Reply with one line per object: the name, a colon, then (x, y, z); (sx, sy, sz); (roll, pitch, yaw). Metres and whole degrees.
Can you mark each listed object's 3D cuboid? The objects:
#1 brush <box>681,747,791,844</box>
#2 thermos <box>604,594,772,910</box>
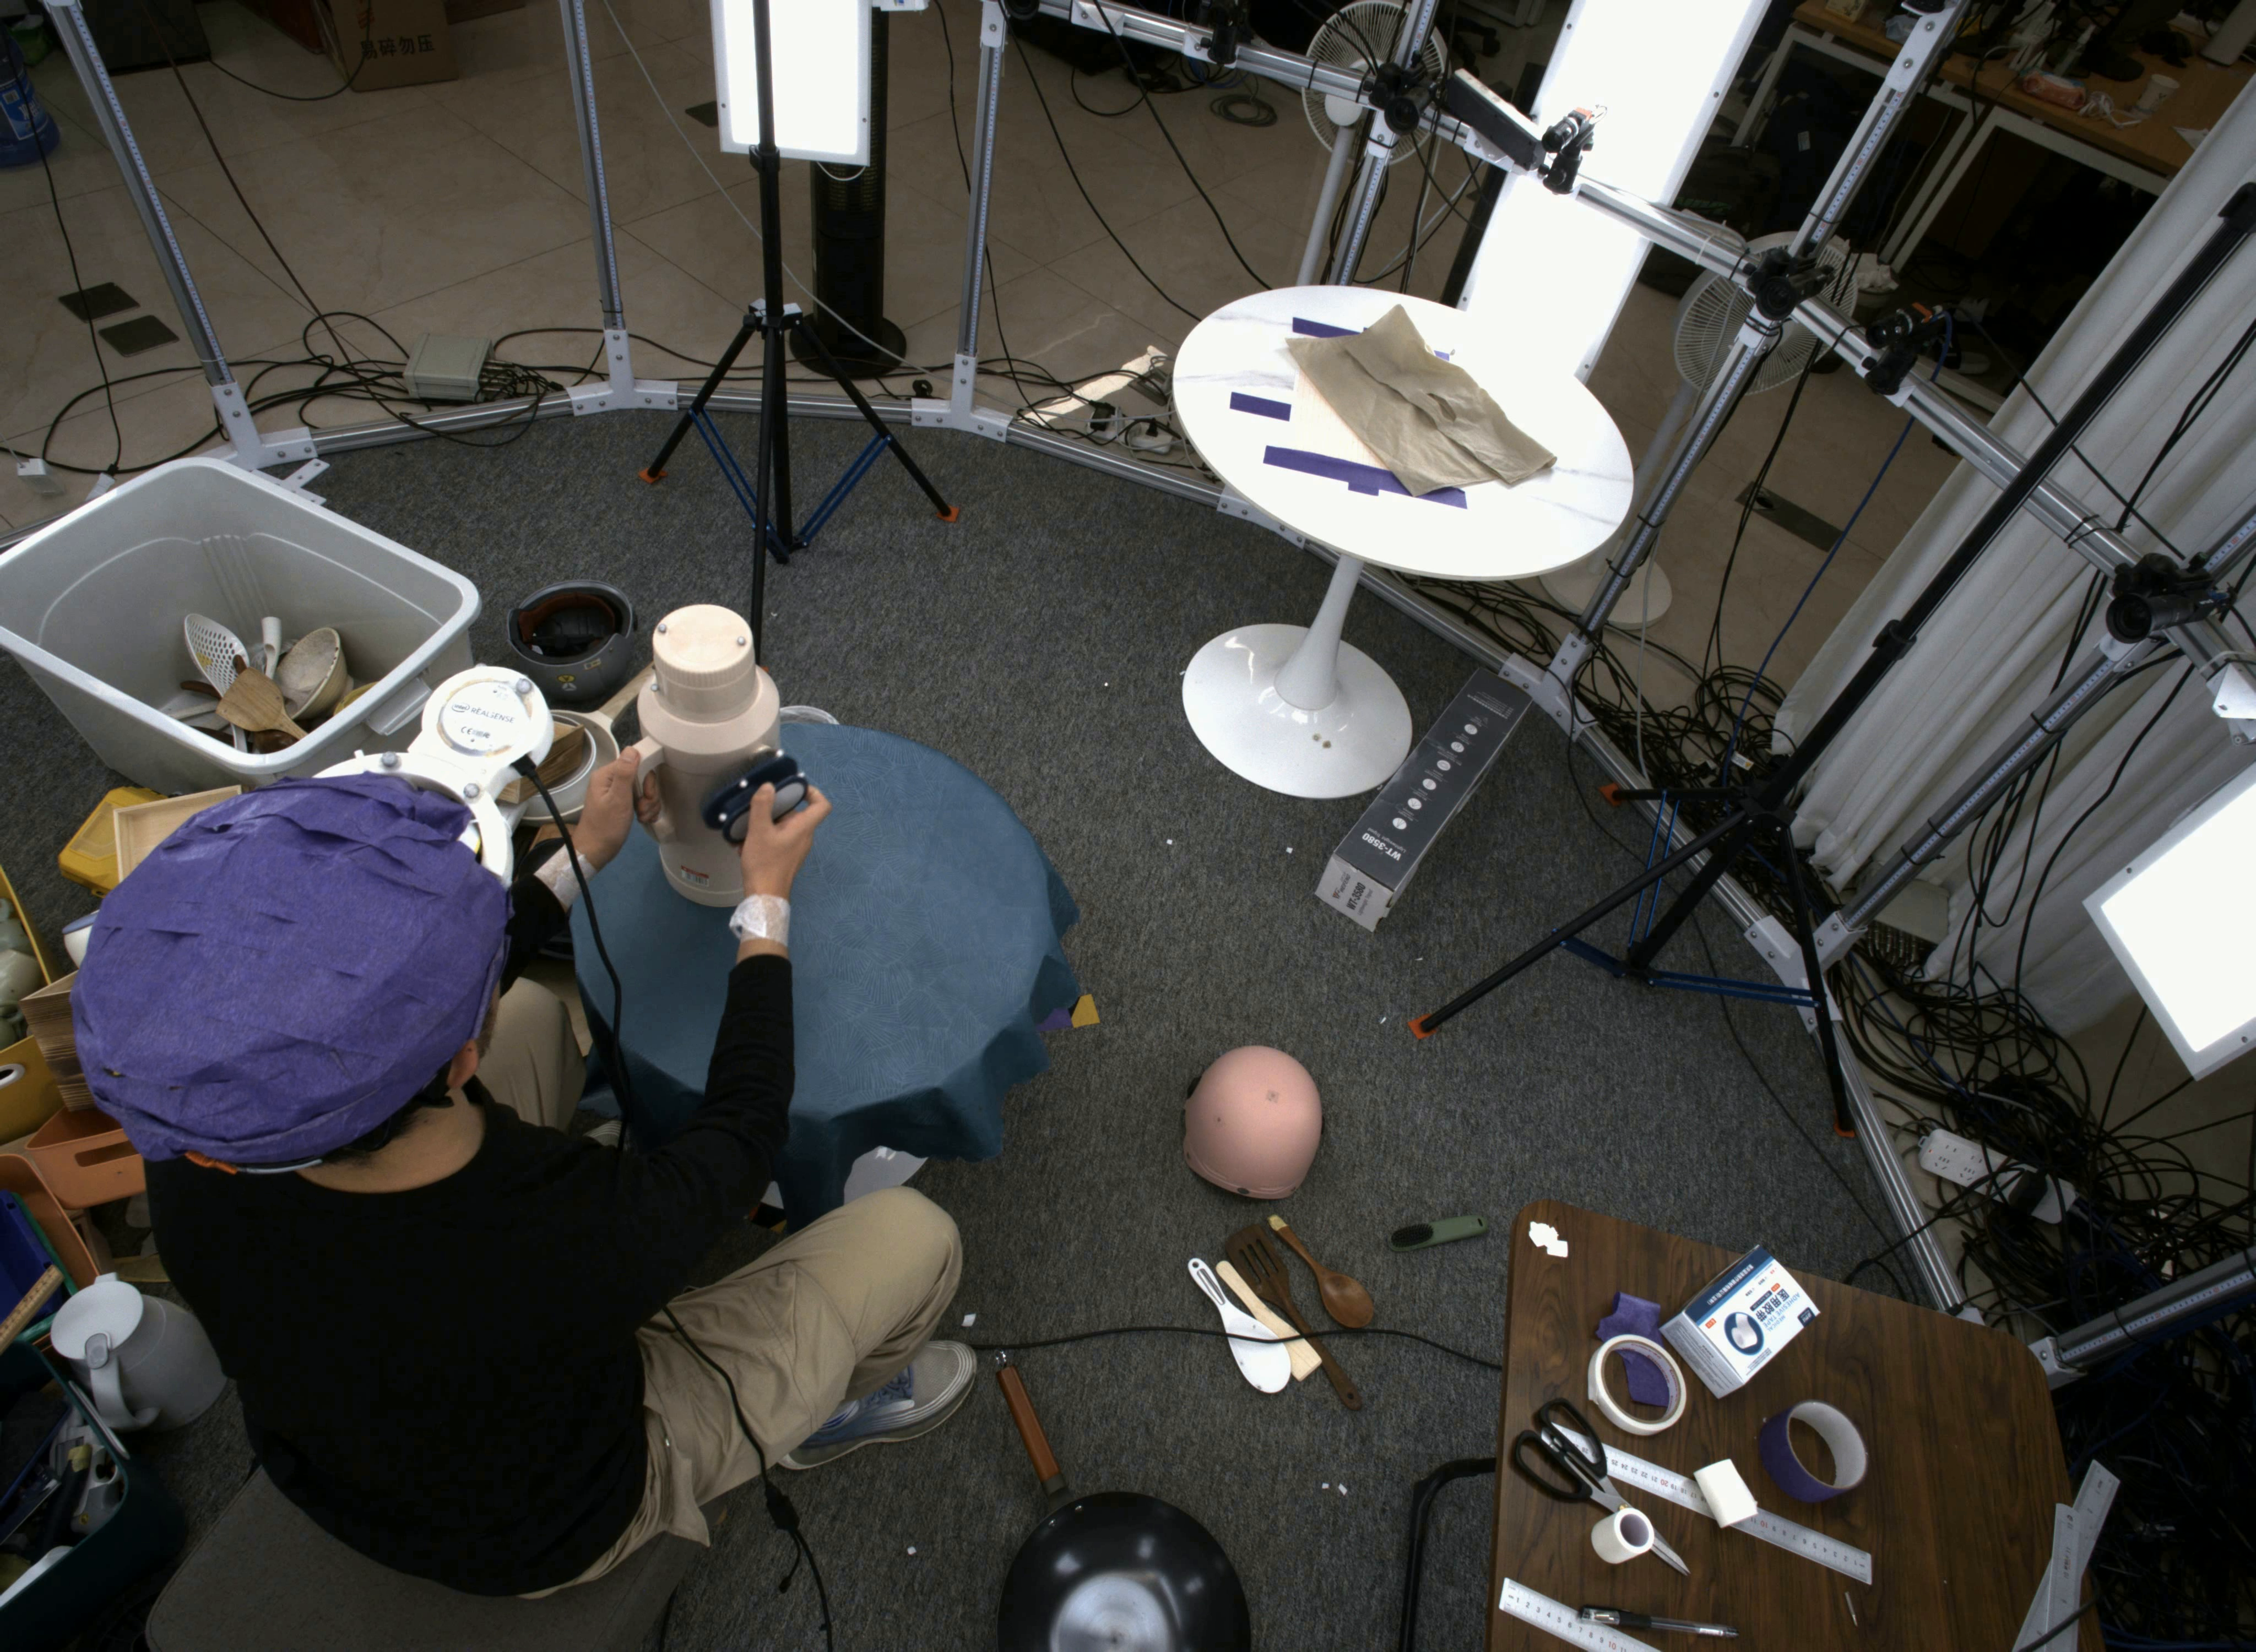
brush: (-0.432, -0.037, 1.418); (0.122, 0.069, 0.060); (-37, 68, -25)
thermos: (-0.515, -0.076, 1.494); (0.172, 0.414, 0.207); (34, 53, 14)
